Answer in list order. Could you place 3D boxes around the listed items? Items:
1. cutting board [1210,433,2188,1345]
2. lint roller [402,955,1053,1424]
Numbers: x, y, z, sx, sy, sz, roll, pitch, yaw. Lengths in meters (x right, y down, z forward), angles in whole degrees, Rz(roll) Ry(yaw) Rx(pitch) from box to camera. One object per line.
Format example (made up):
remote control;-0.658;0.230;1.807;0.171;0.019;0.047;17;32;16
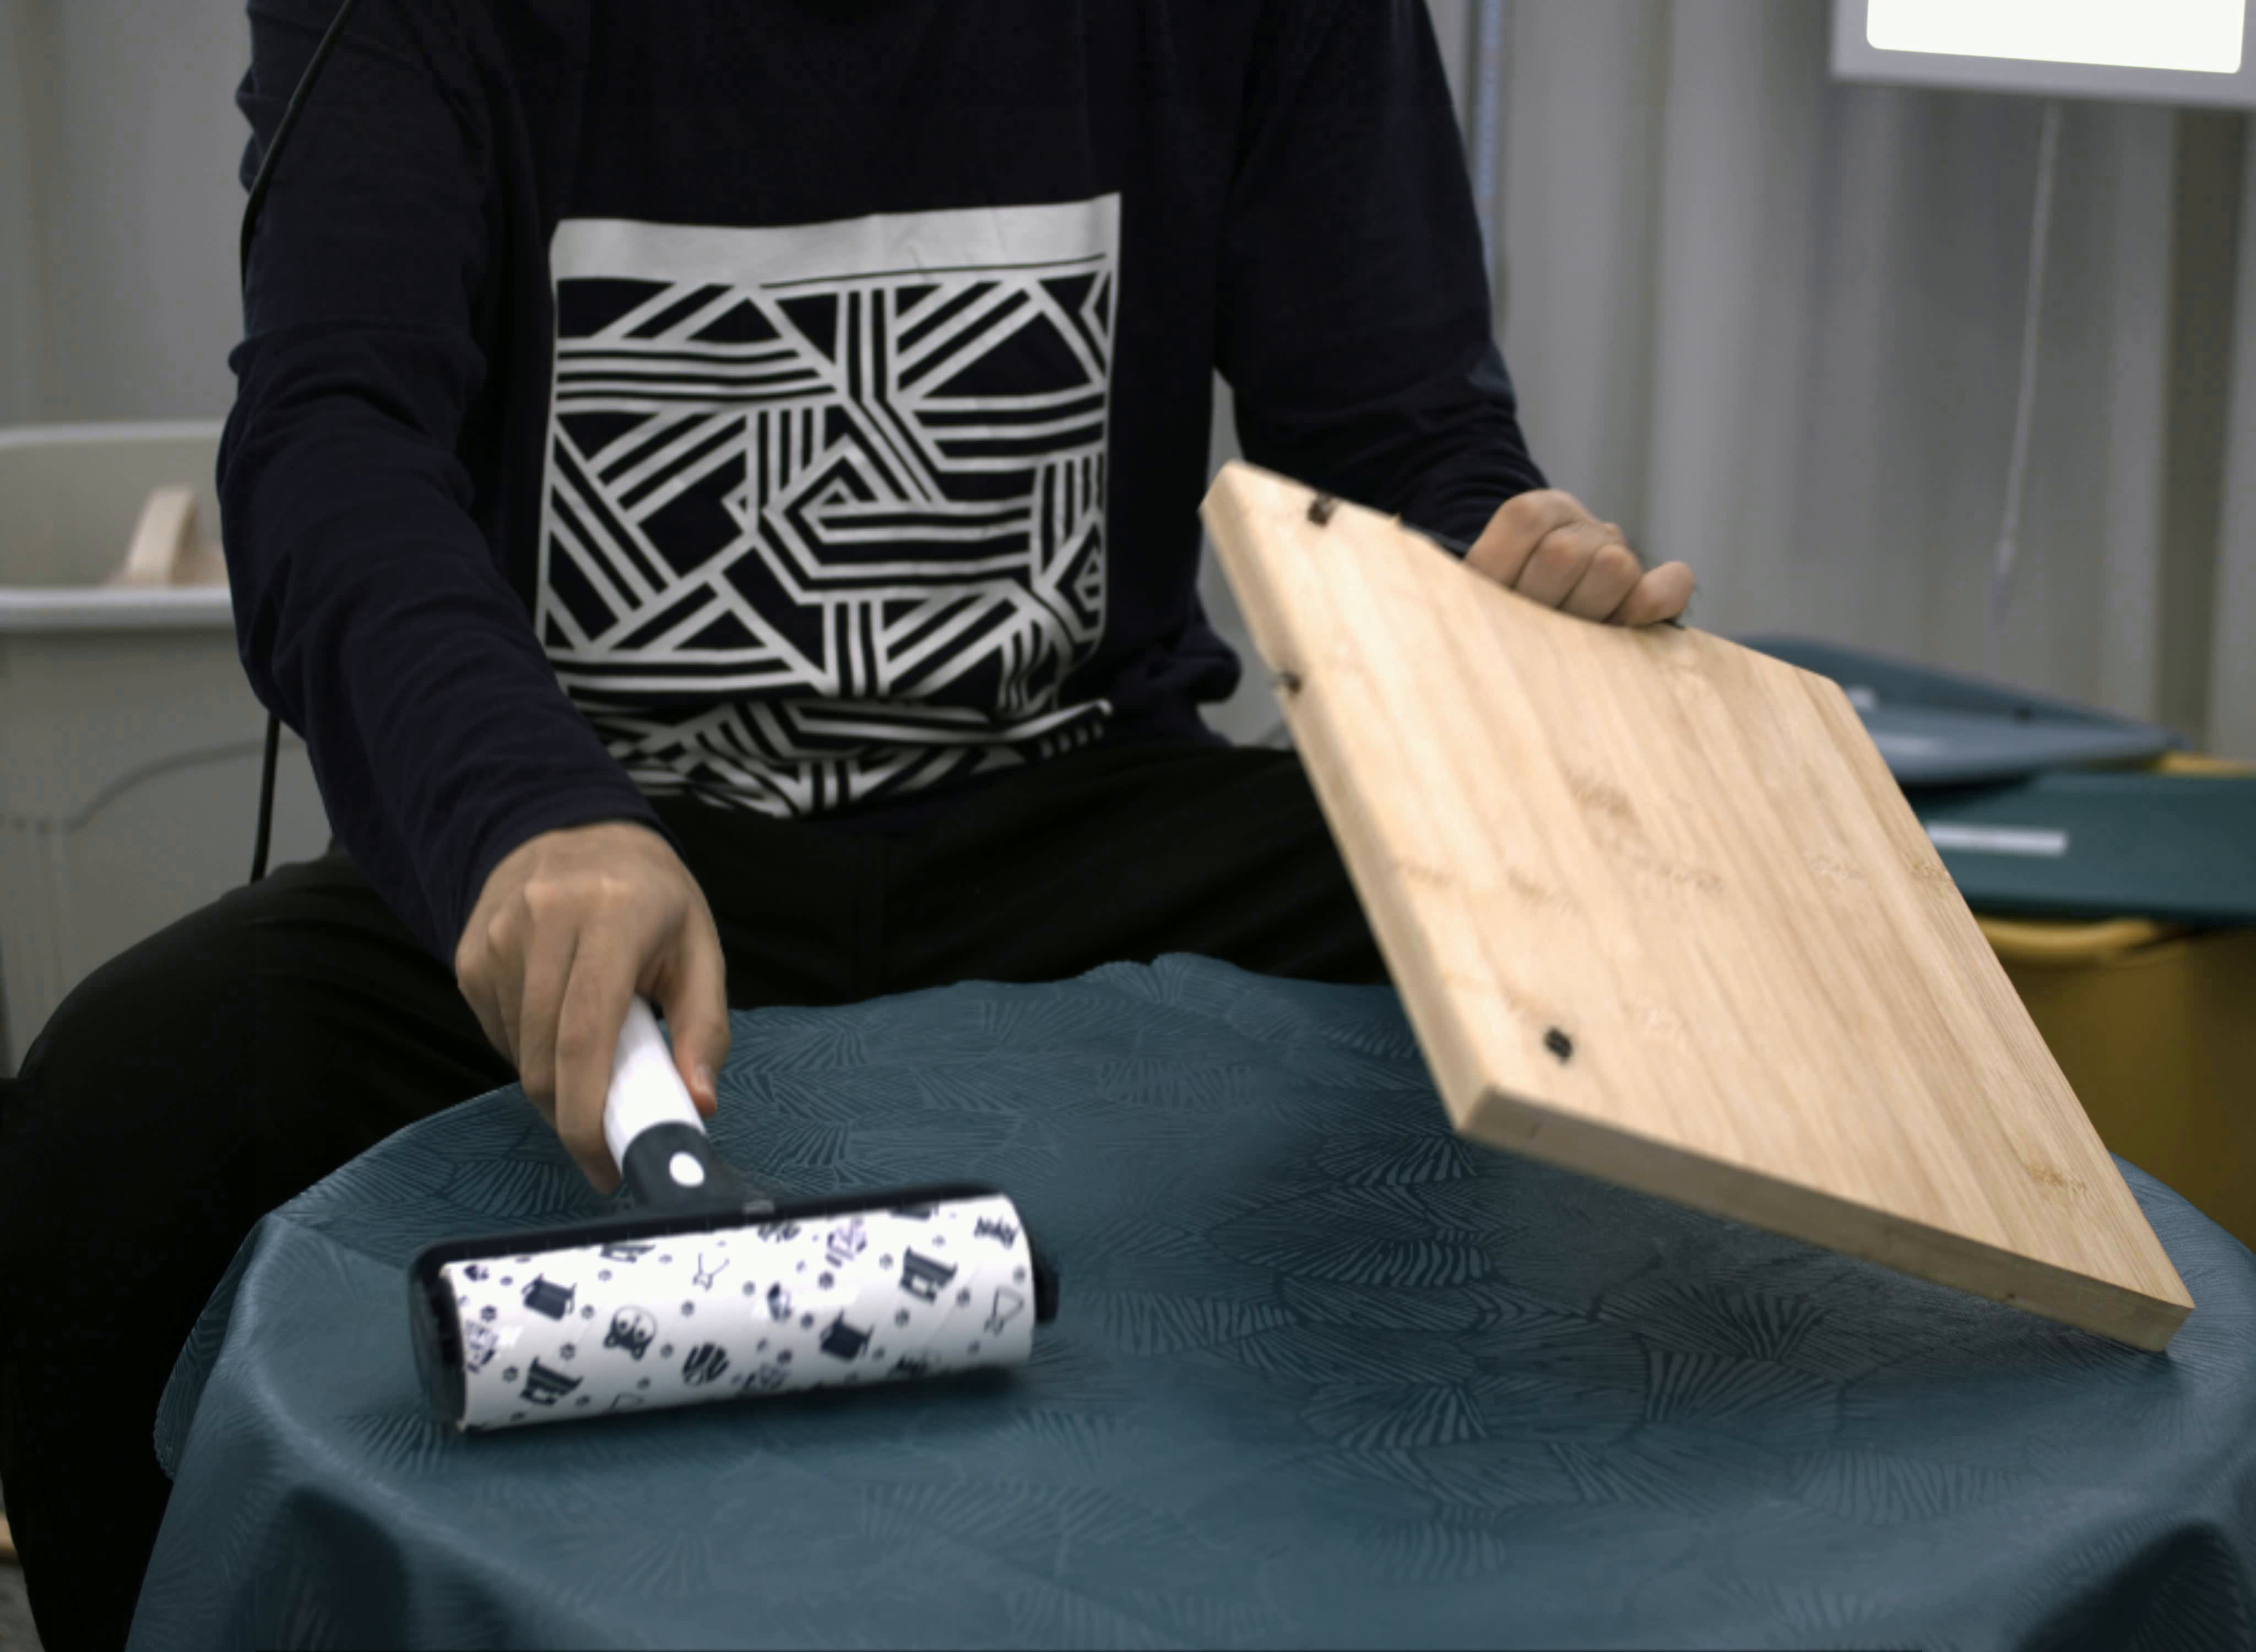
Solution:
cutting board;0.162;0.012;1.587;0.252;0.023;0.344;20;27;-25
lint roller;-0.138;0.089;1.532;0.176;0.051;0.244;-9;26;-15
